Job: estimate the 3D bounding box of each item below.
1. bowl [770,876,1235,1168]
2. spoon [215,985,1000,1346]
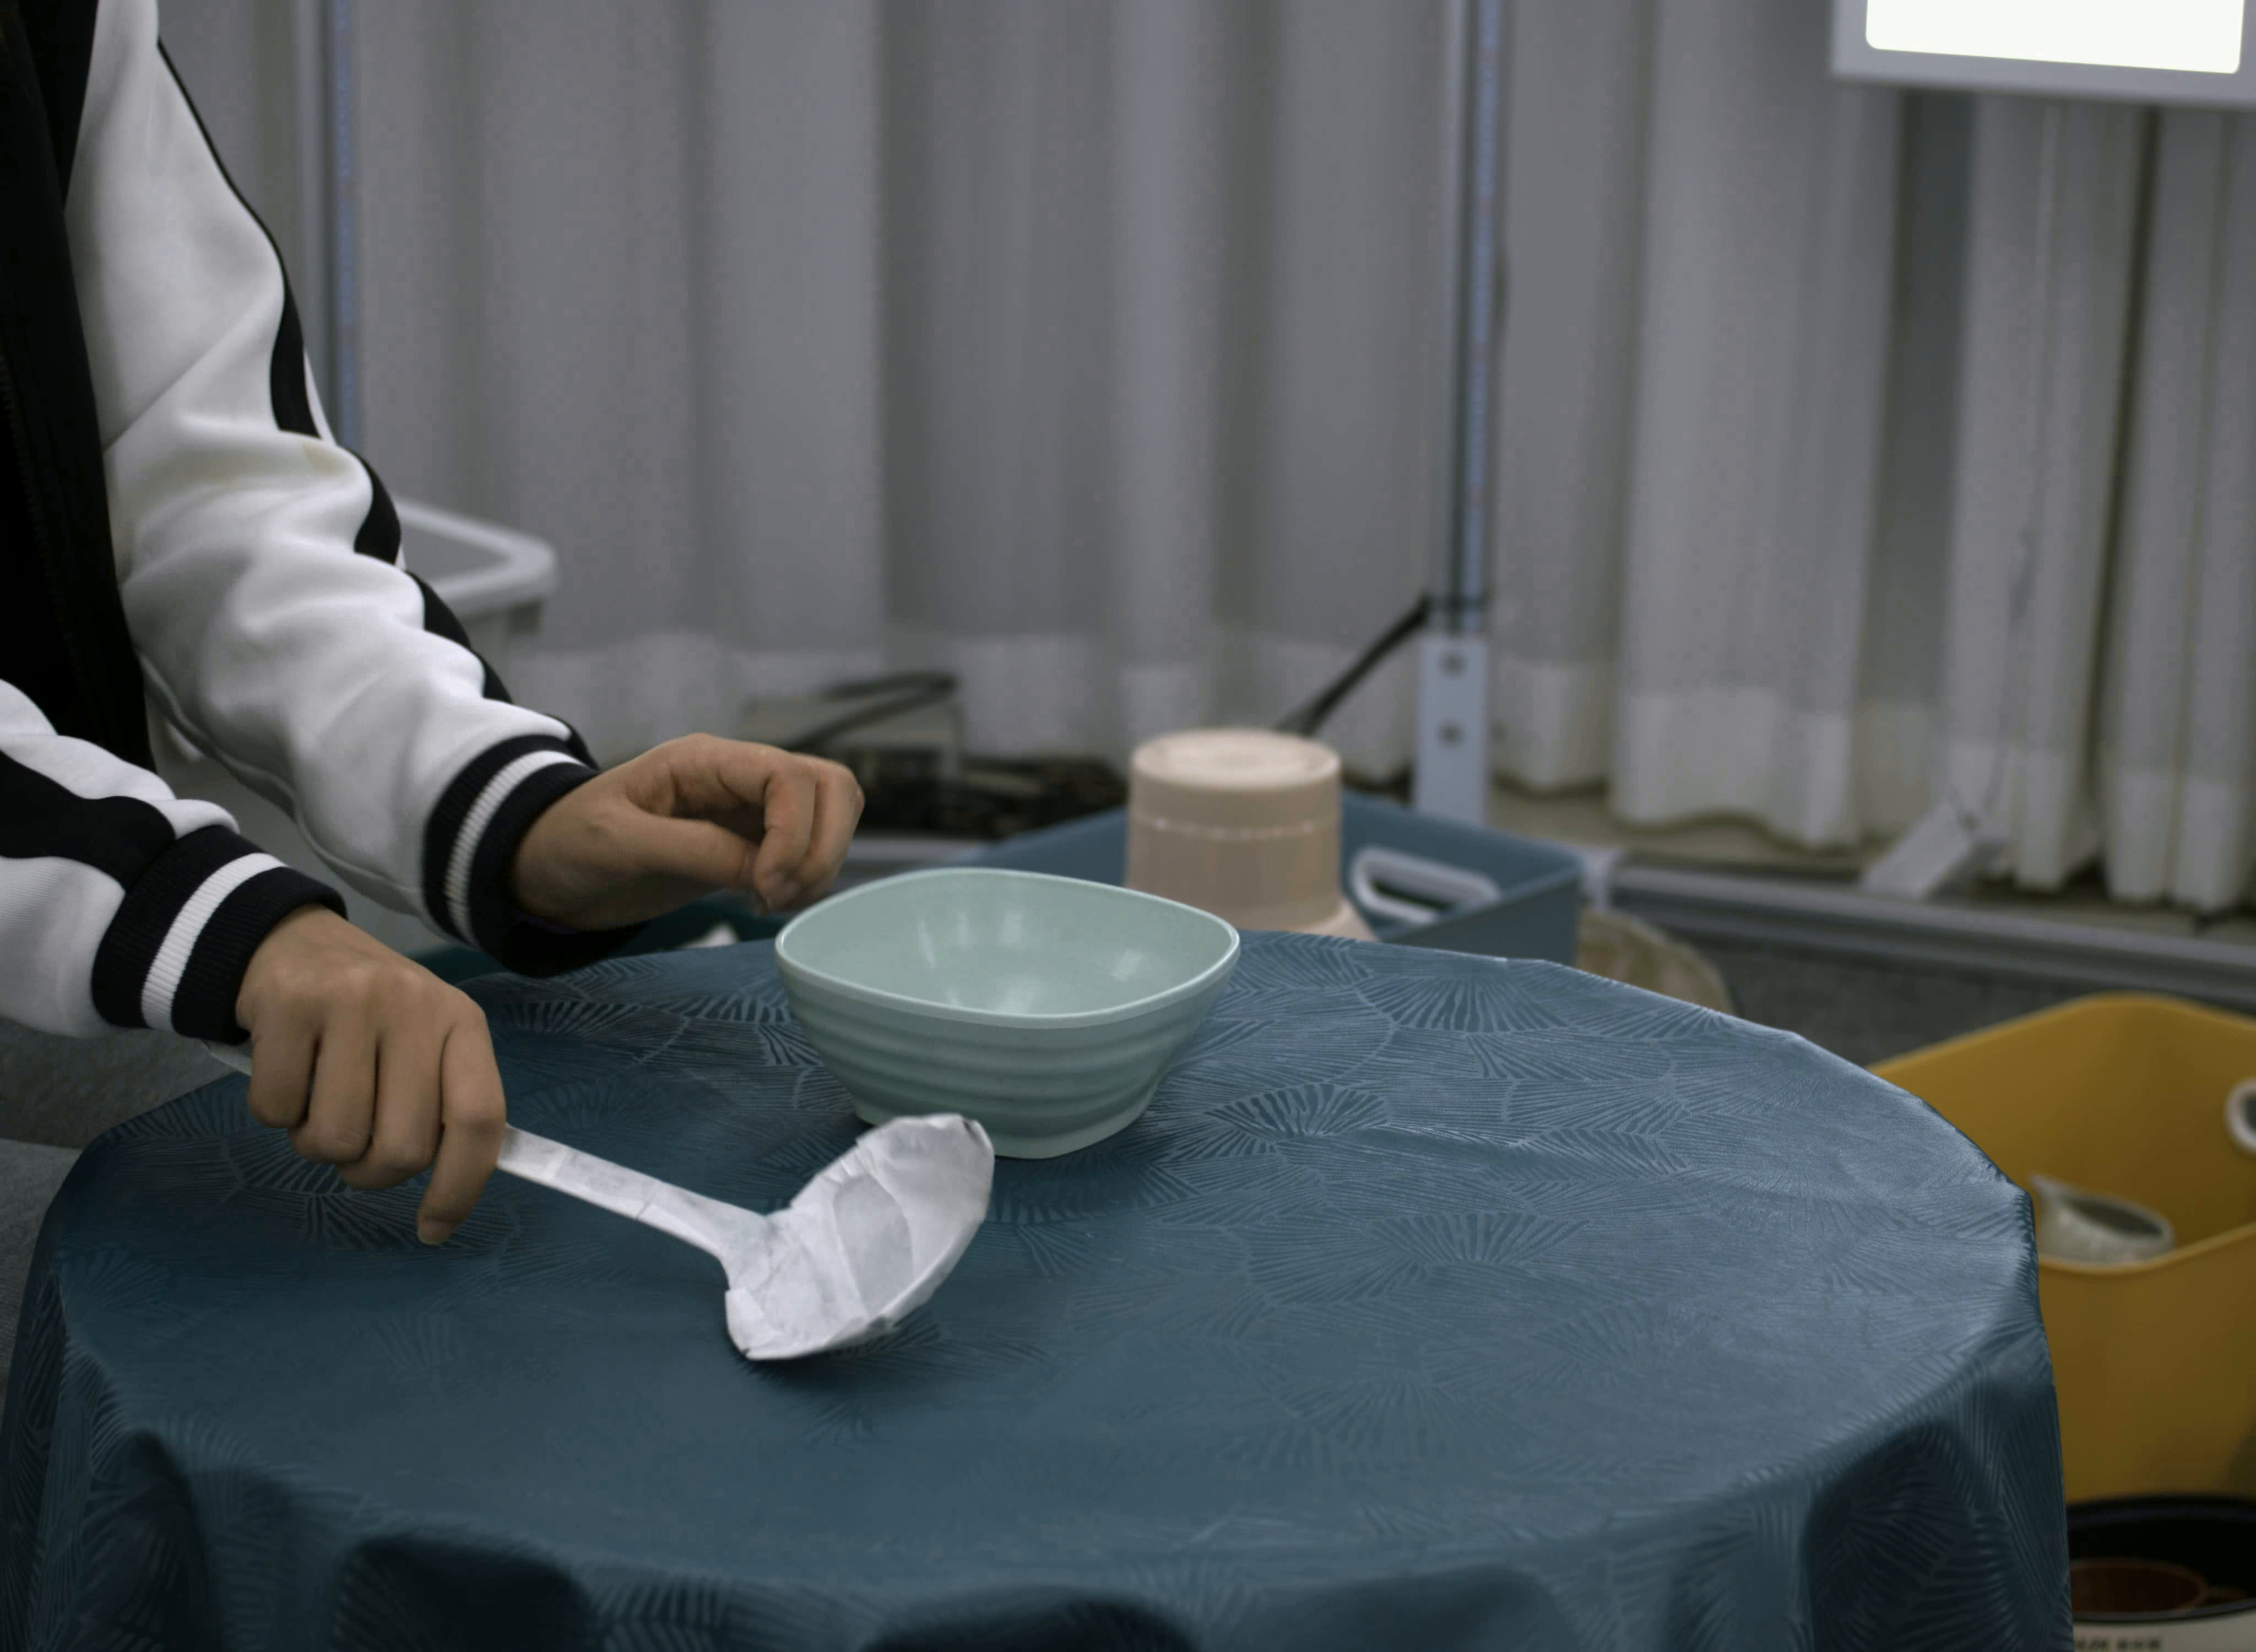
[{"bbox_3d":[-0.041,0.066,1.684,0.151,0.059,0.150,4,17,-1],"label":"bowl"},{"bbox_3d":[-0.158,0.079,1.532,0.274,0.060,0.100,23,49,23],"label":"spoon"}]
